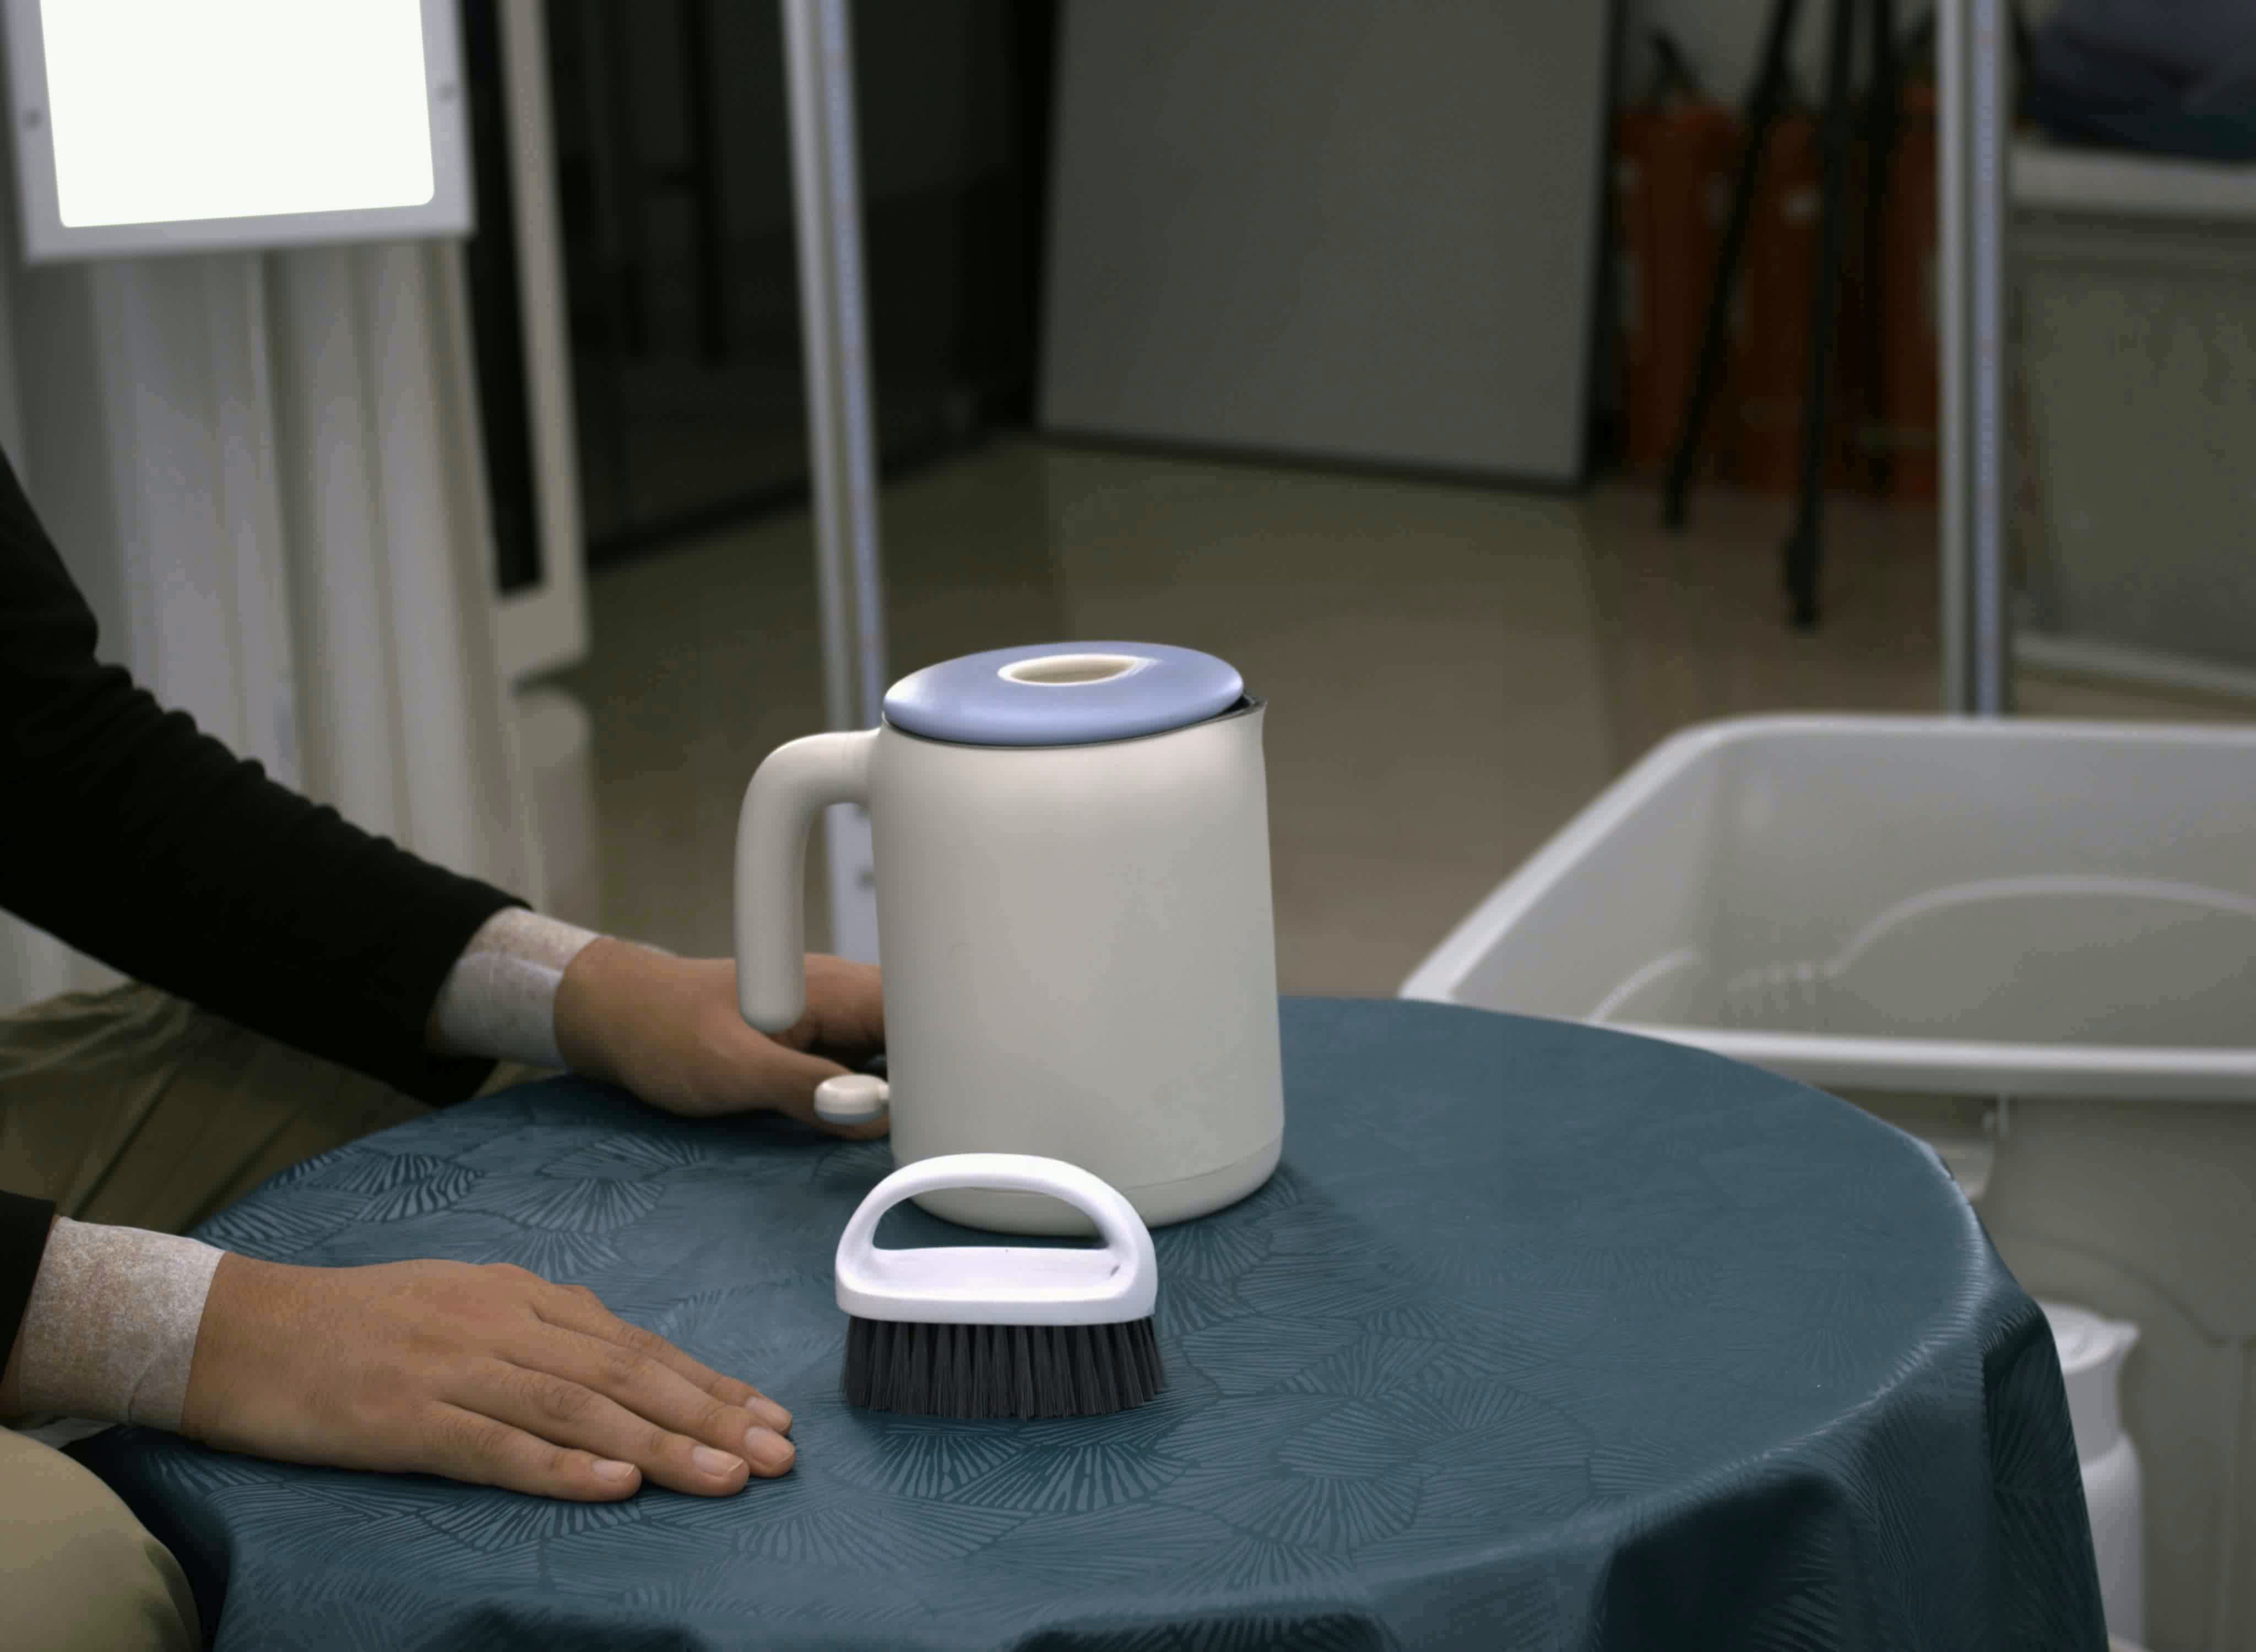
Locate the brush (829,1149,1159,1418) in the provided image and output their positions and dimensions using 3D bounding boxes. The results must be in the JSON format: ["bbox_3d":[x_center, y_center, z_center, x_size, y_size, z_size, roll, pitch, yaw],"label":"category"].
[{"bbox_3d":[-0.040,0.131,1.586,0.099,0.073,0.050,0,14,16],"label":"brush"}]

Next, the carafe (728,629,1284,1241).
[{"bbox_3d":[-0.041,0.035,1.771,0.190,0.184,0.131,-2,13,16],"label":"carafe"}]
